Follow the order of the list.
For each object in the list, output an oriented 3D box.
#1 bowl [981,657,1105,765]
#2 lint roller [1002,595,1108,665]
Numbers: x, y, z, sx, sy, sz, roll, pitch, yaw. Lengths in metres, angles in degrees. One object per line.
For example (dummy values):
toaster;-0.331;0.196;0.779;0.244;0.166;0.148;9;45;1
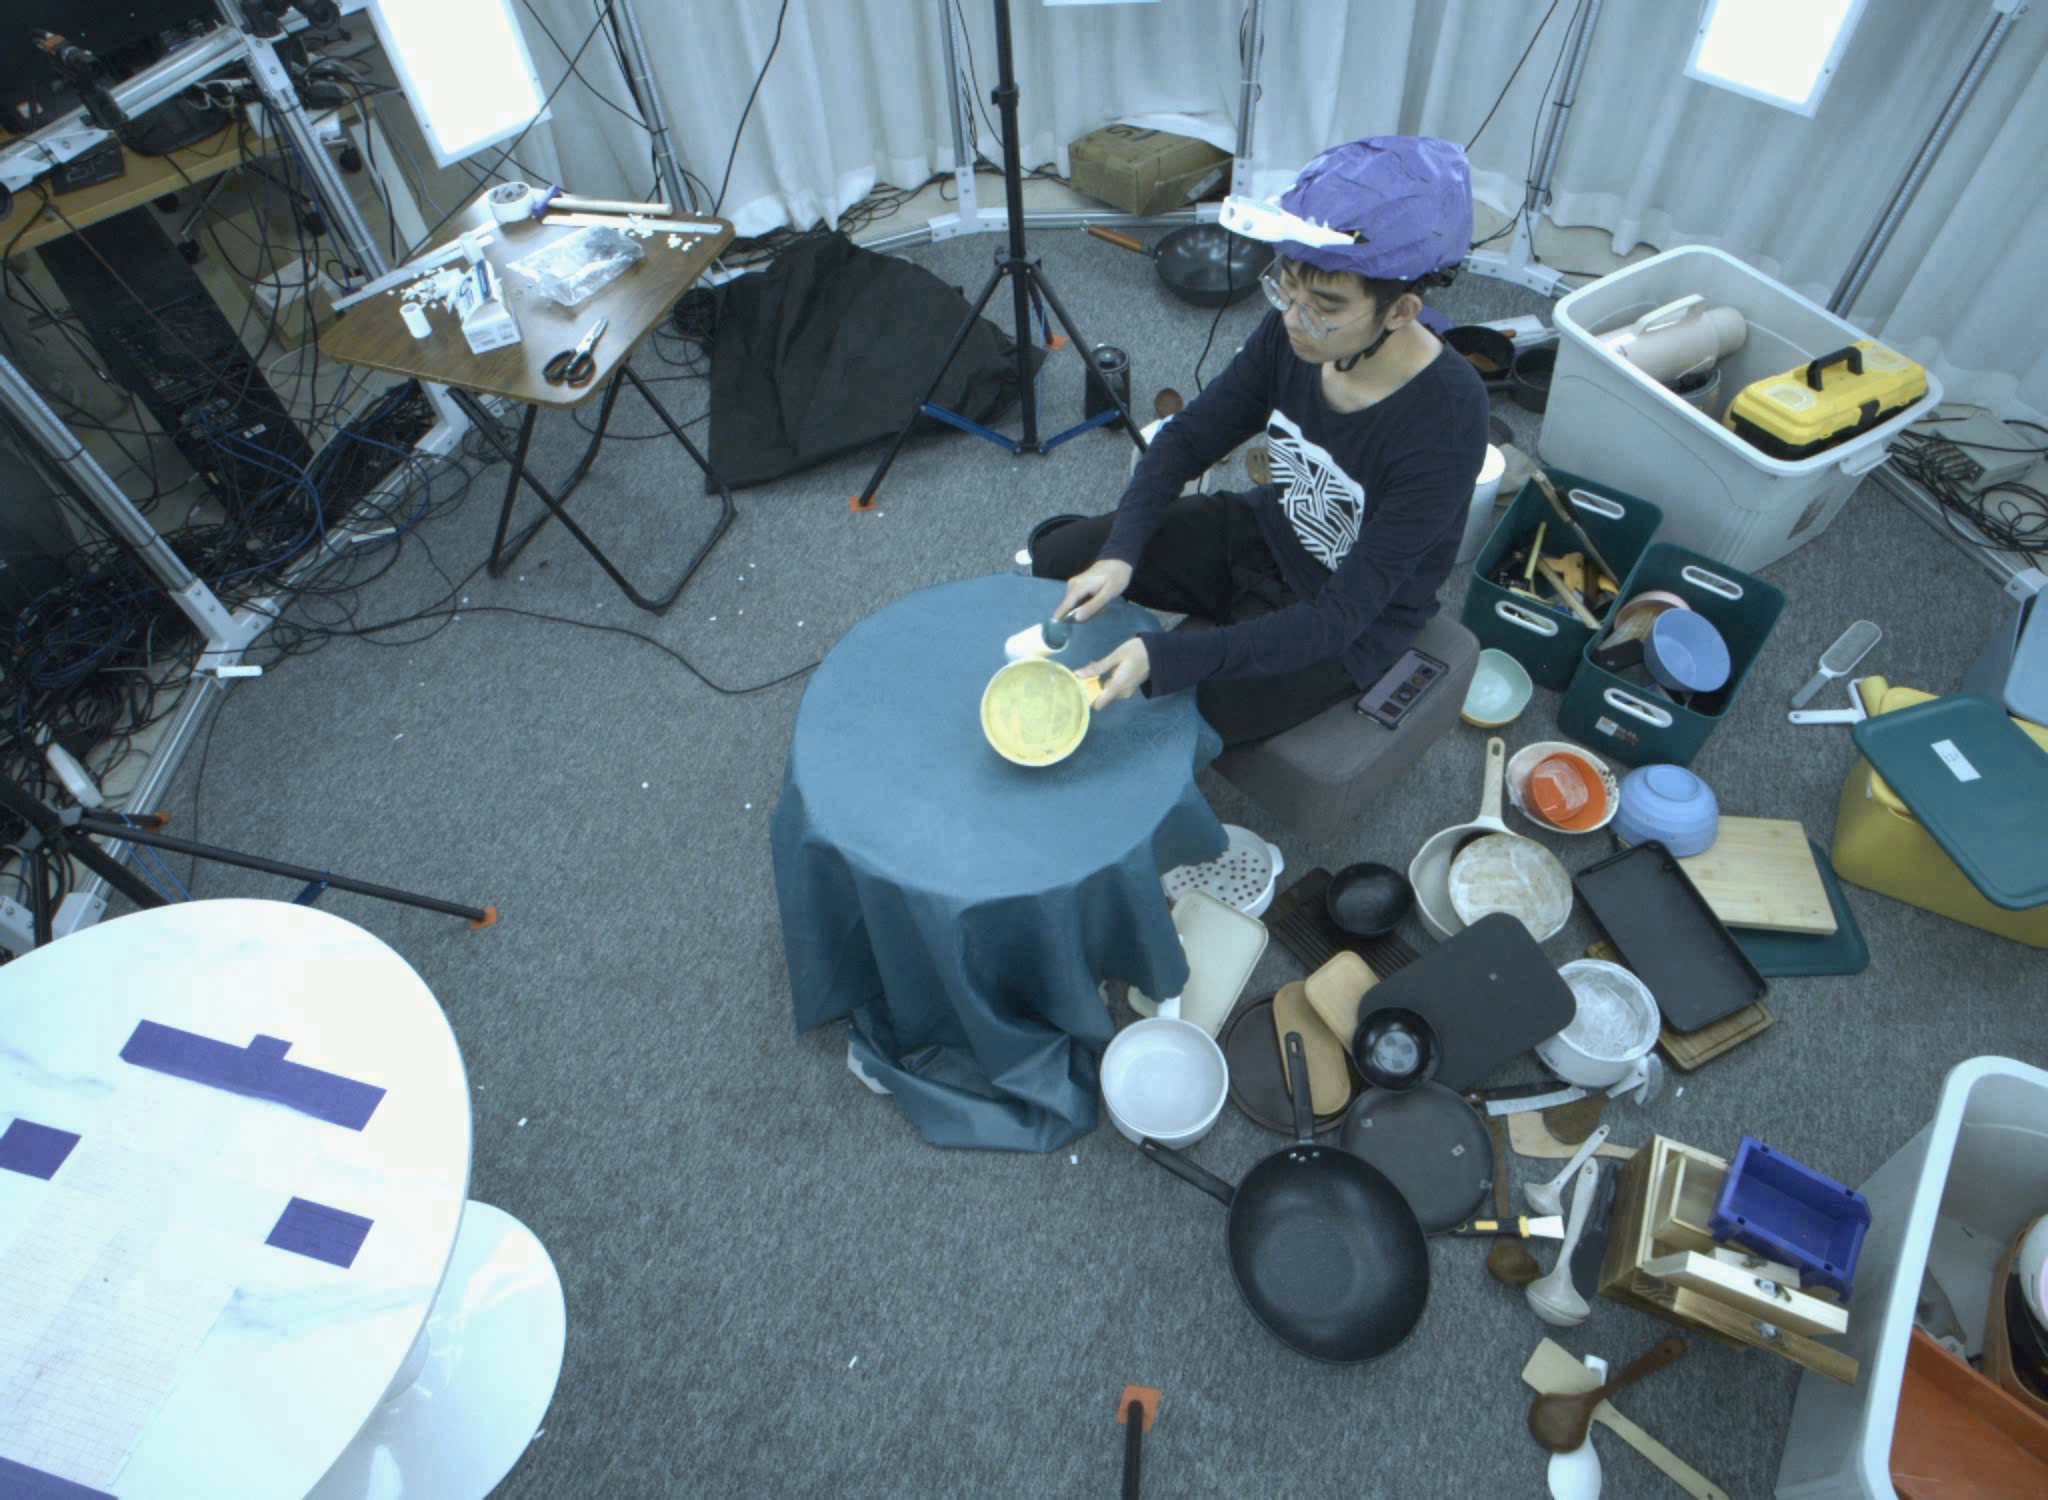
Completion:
bowl;0.029;-0.064;1.756;0.179;0.074;0.154;-28;98;2
lint roller;0.056;-0.194;1.801;0.181;0.132;0.049;-44;105;-30
